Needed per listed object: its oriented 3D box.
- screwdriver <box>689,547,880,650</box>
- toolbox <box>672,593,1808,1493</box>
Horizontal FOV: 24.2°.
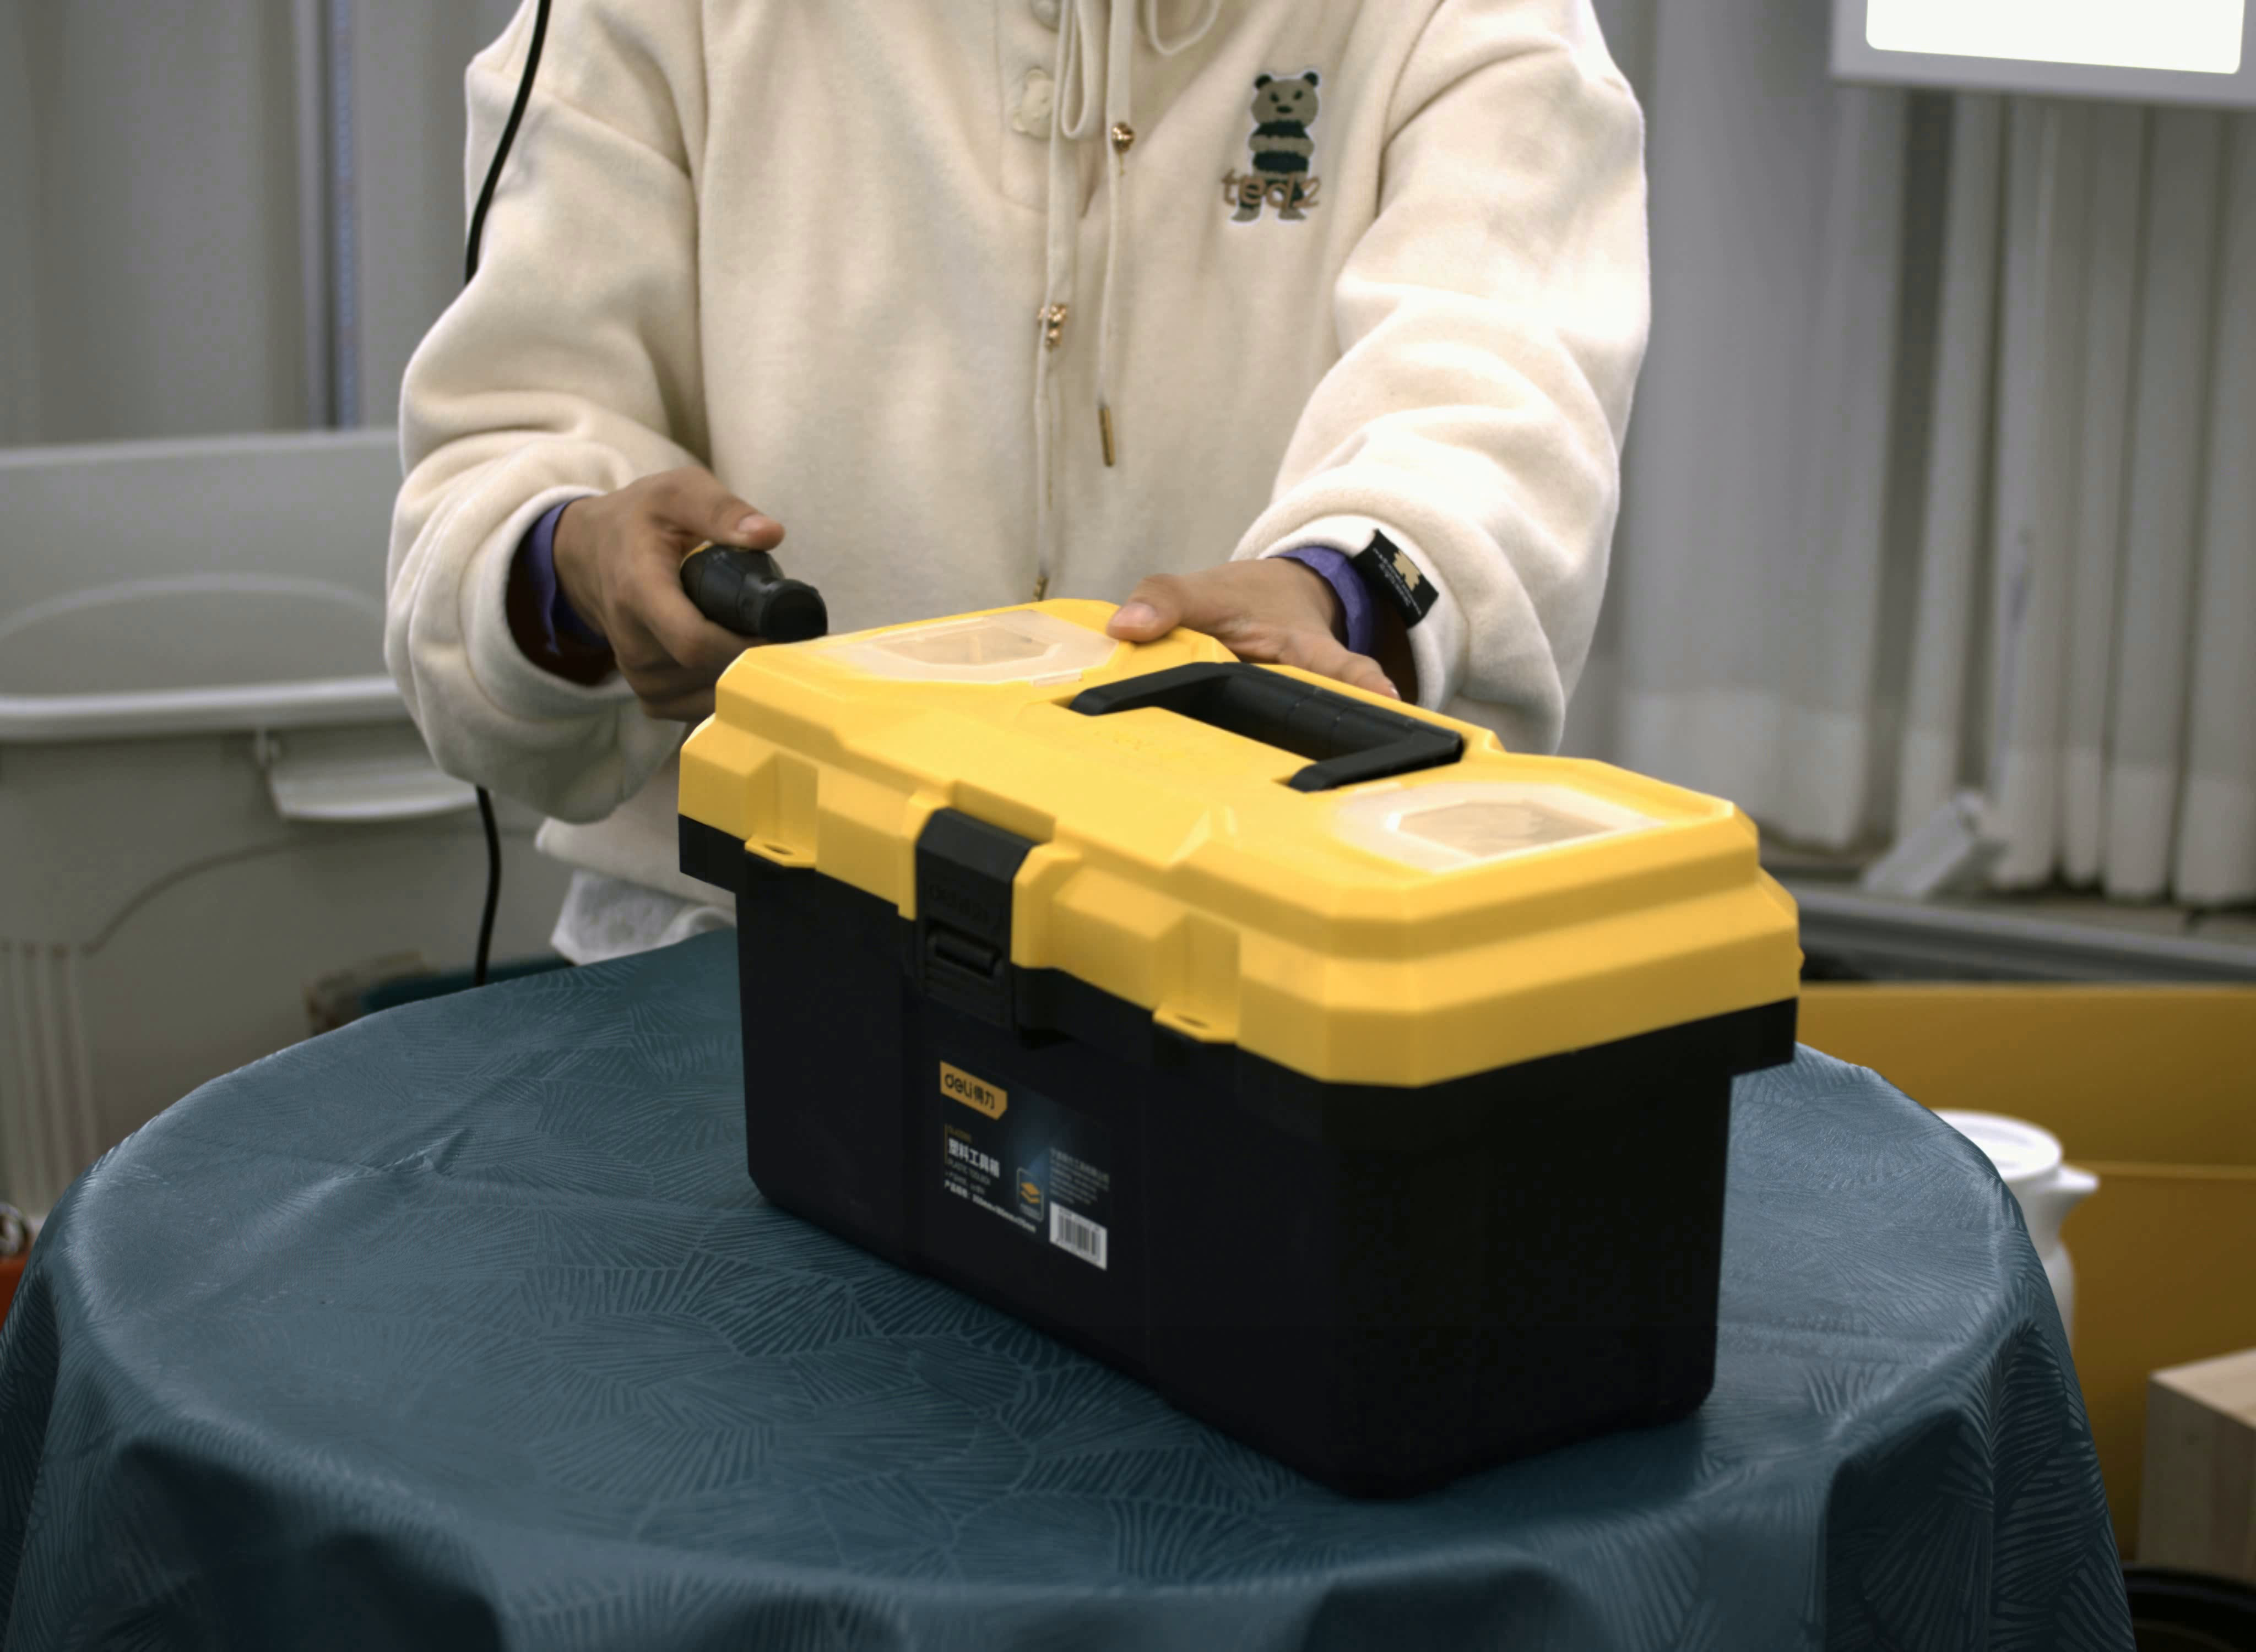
[{"bbox_3d":[-0.103,-0.067,1.710,0.031,0.032,0.195,-6,13,-23],"label":"screwdriver"},{"bbox_3d":[0.023,0.053,1.509,0.182,0.174,0.347,-11,19,-35],"label":"toolbox"}]
